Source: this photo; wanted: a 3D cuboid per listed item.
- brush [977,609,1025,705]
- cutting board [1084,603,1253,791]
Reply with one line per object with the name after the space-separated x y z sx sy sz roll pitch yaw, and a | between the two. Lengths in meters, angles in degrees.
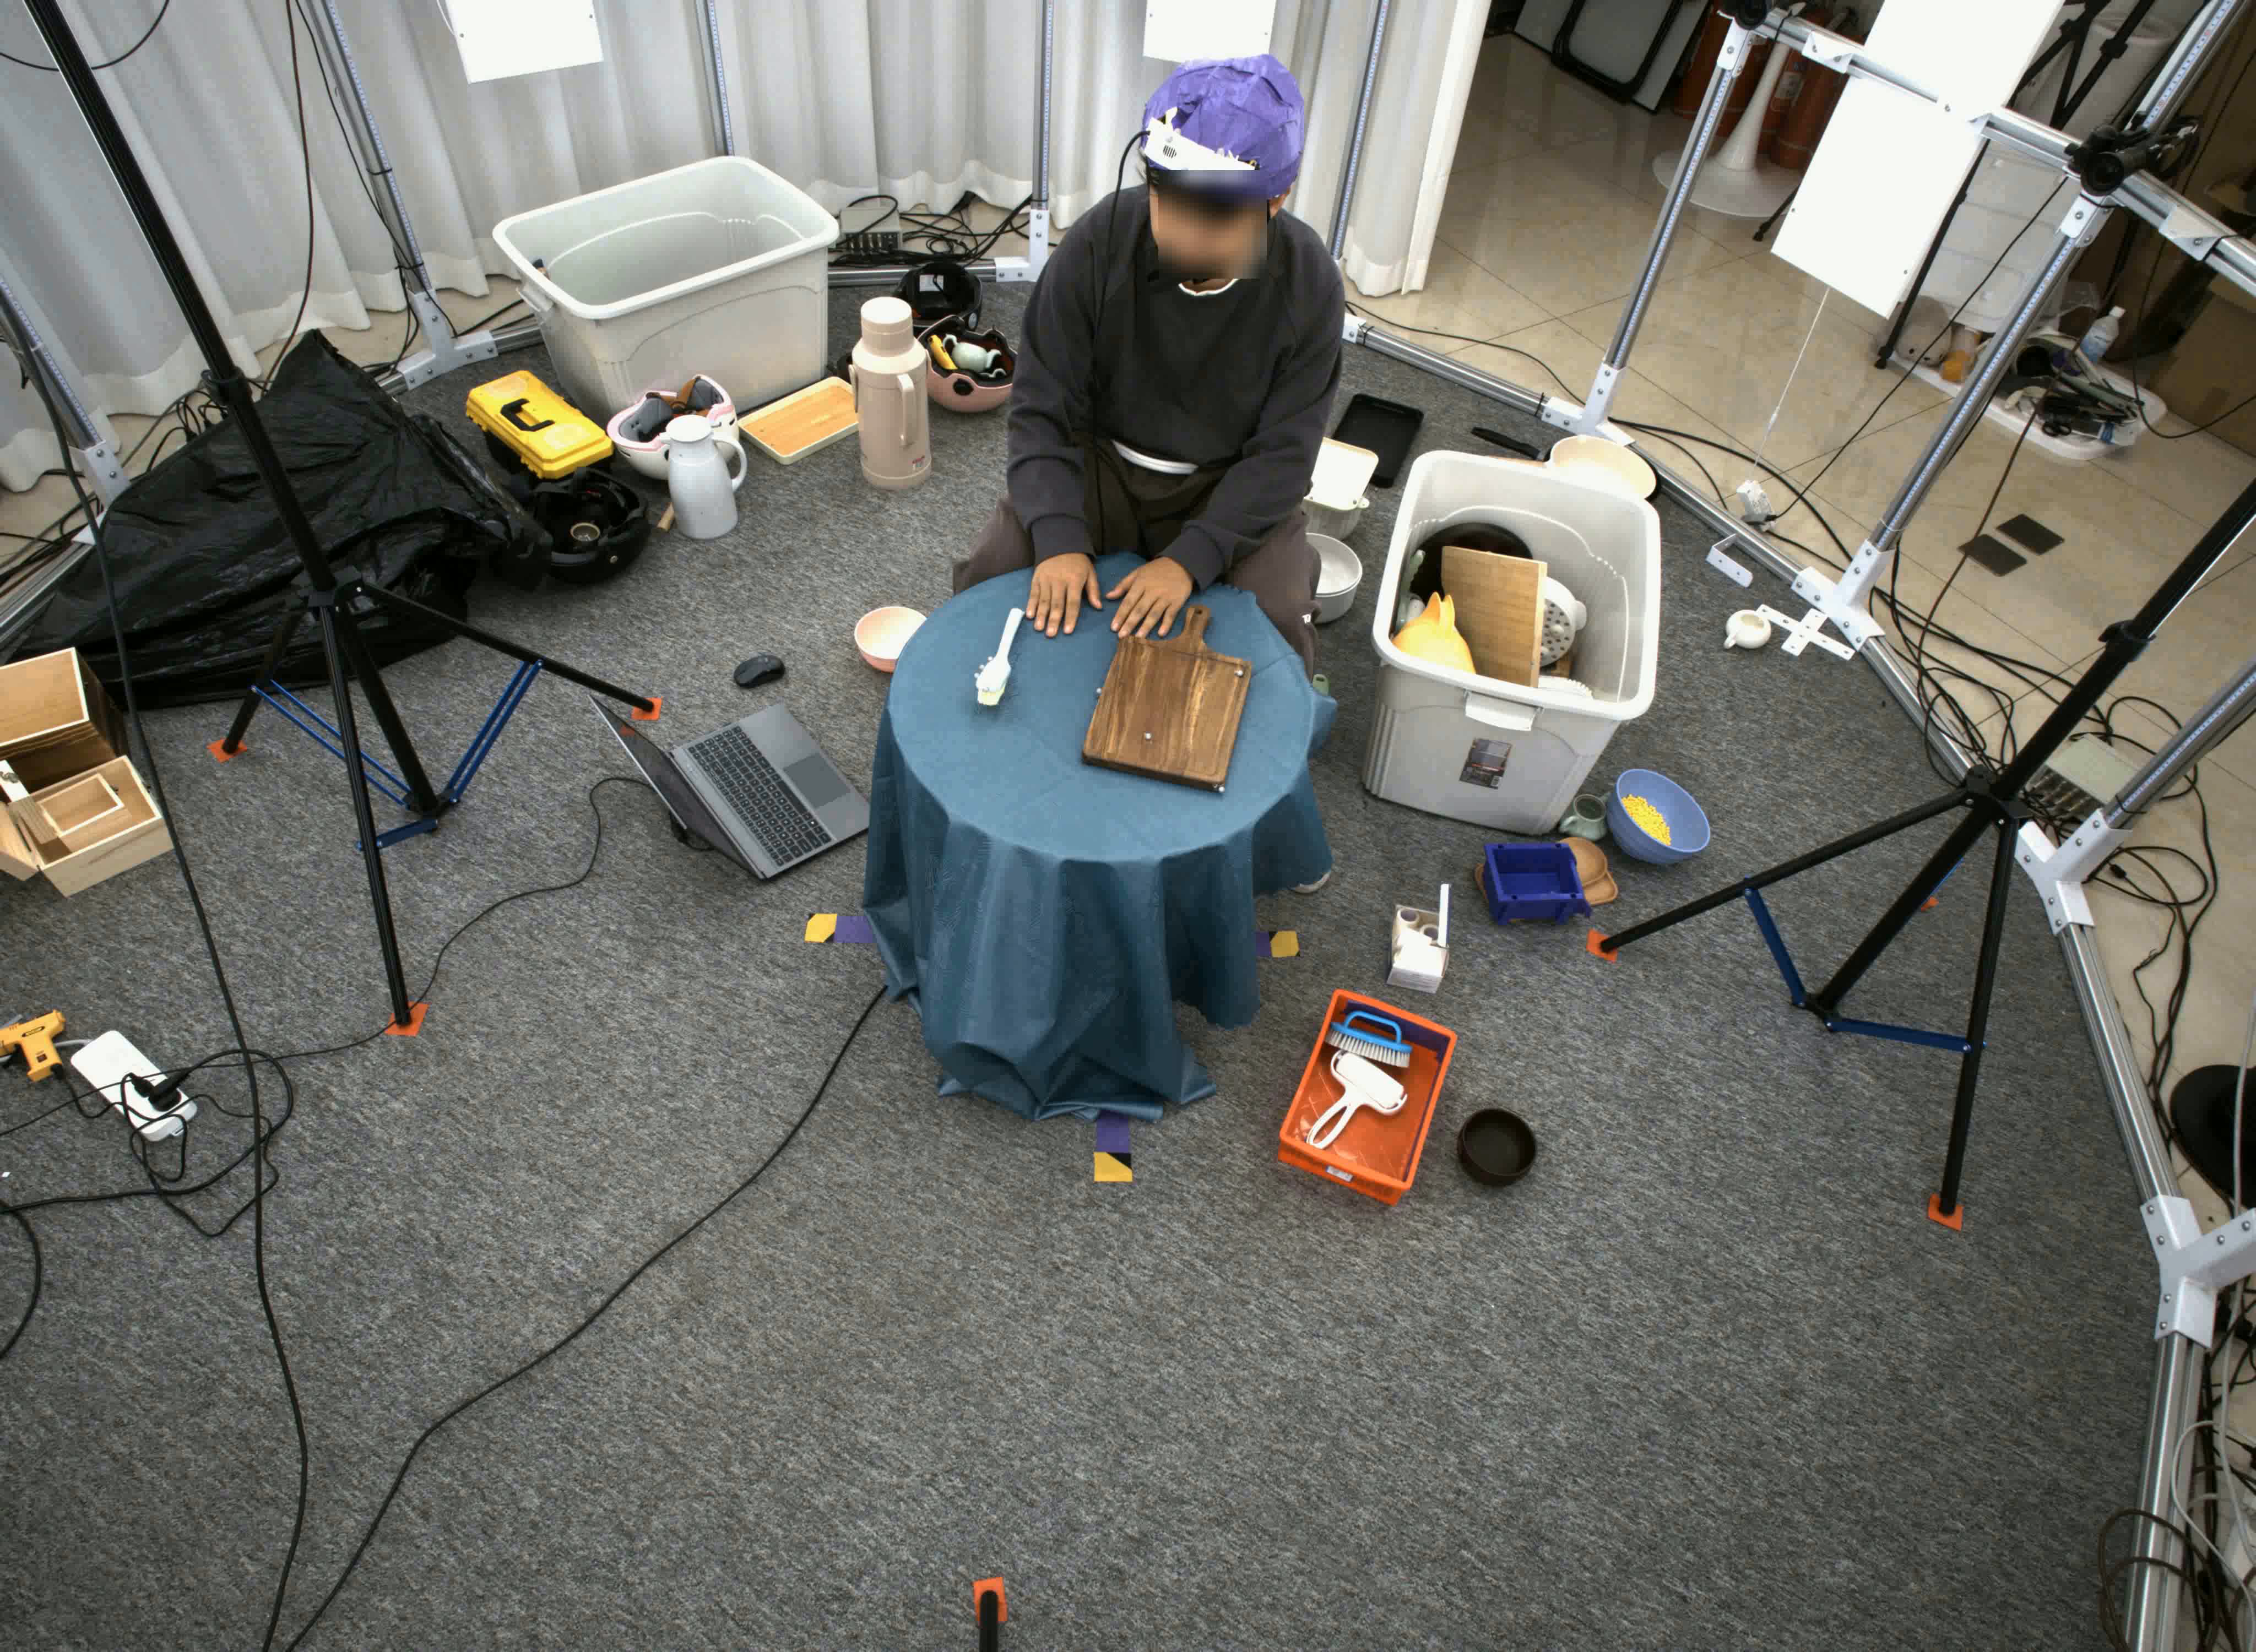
-0.179 -0.246 1.846 0.038 0.048 0.234 9 40 0 | brush
0.072 -0.200 1.831 0.201 0.022 0.360 12 49 6 | cutting board
